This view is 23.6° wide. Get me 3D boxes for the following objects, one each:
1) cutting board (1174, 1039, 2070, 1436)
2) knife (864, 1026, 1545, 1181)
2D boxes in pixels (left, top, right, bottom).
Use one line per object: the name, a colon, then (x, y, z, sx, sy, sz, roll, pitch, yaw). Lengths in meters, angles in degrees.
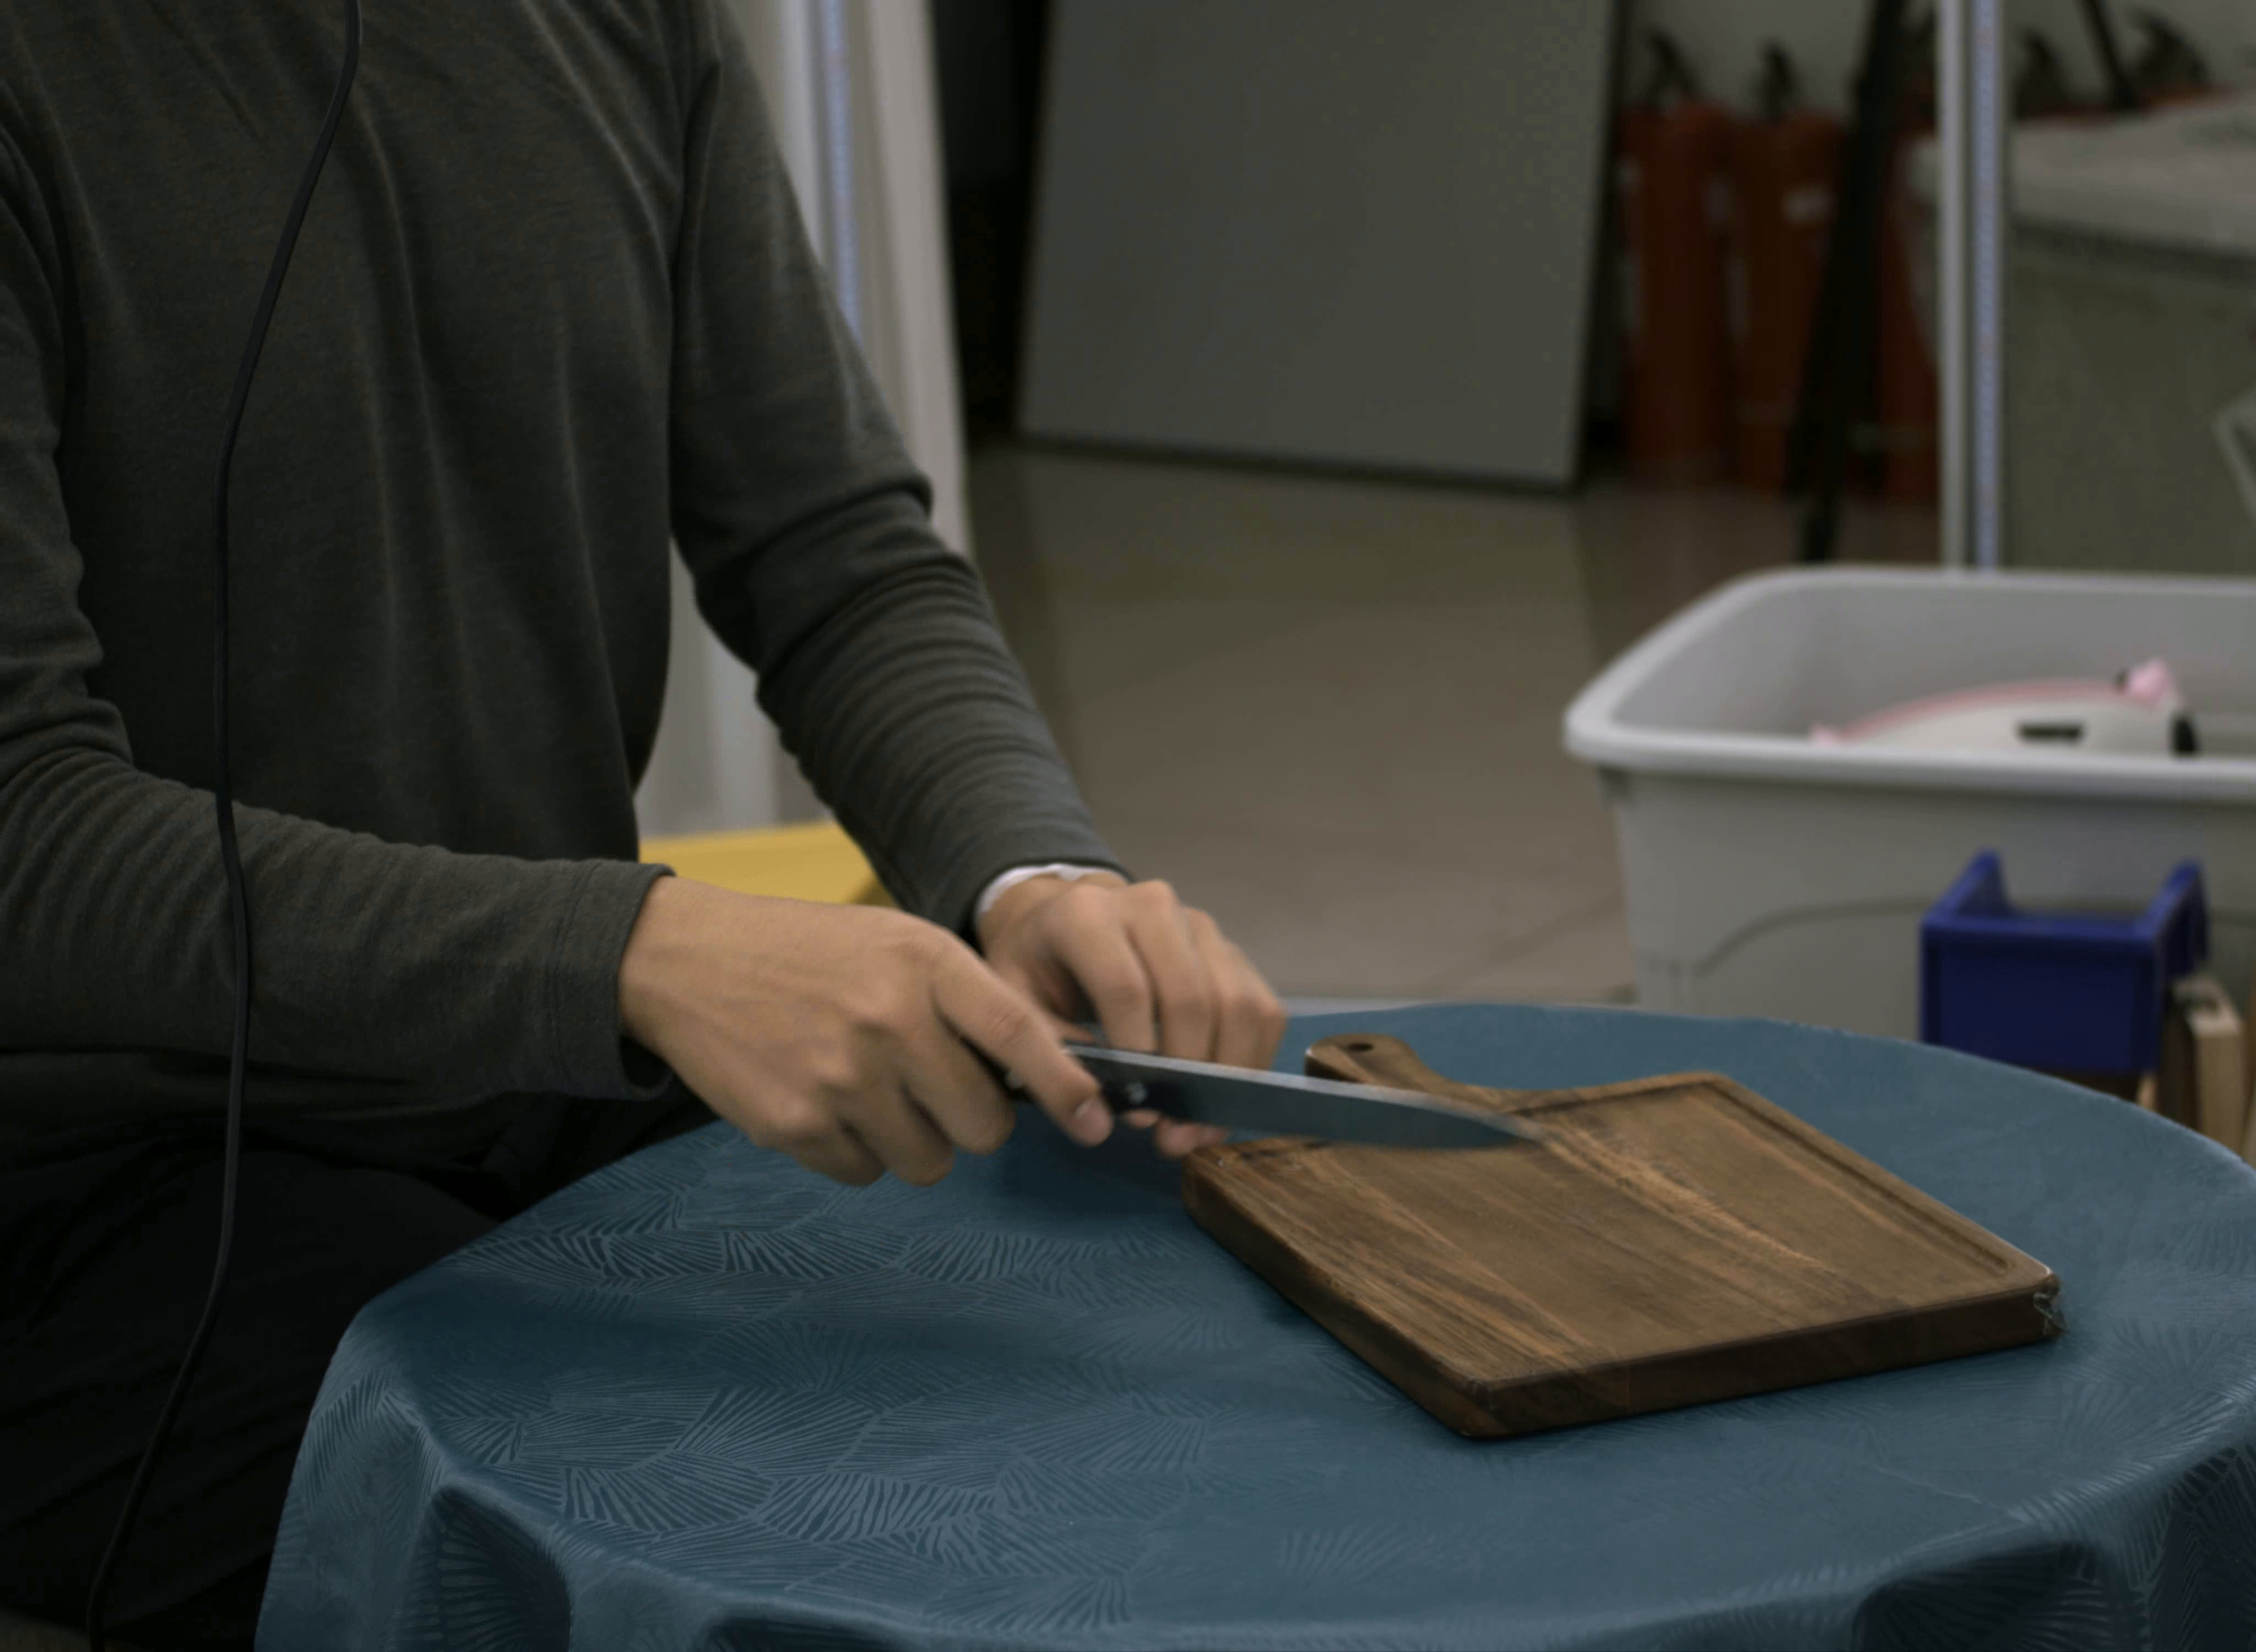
cutting board: (0.130, 0.118, 1.707, 0.197, 0.023, 0.355, -8, 14, -18)
knife: (0.019, 0.084, 1.610, 0.239, 0.024, 0.016, 8, 41, 32)
